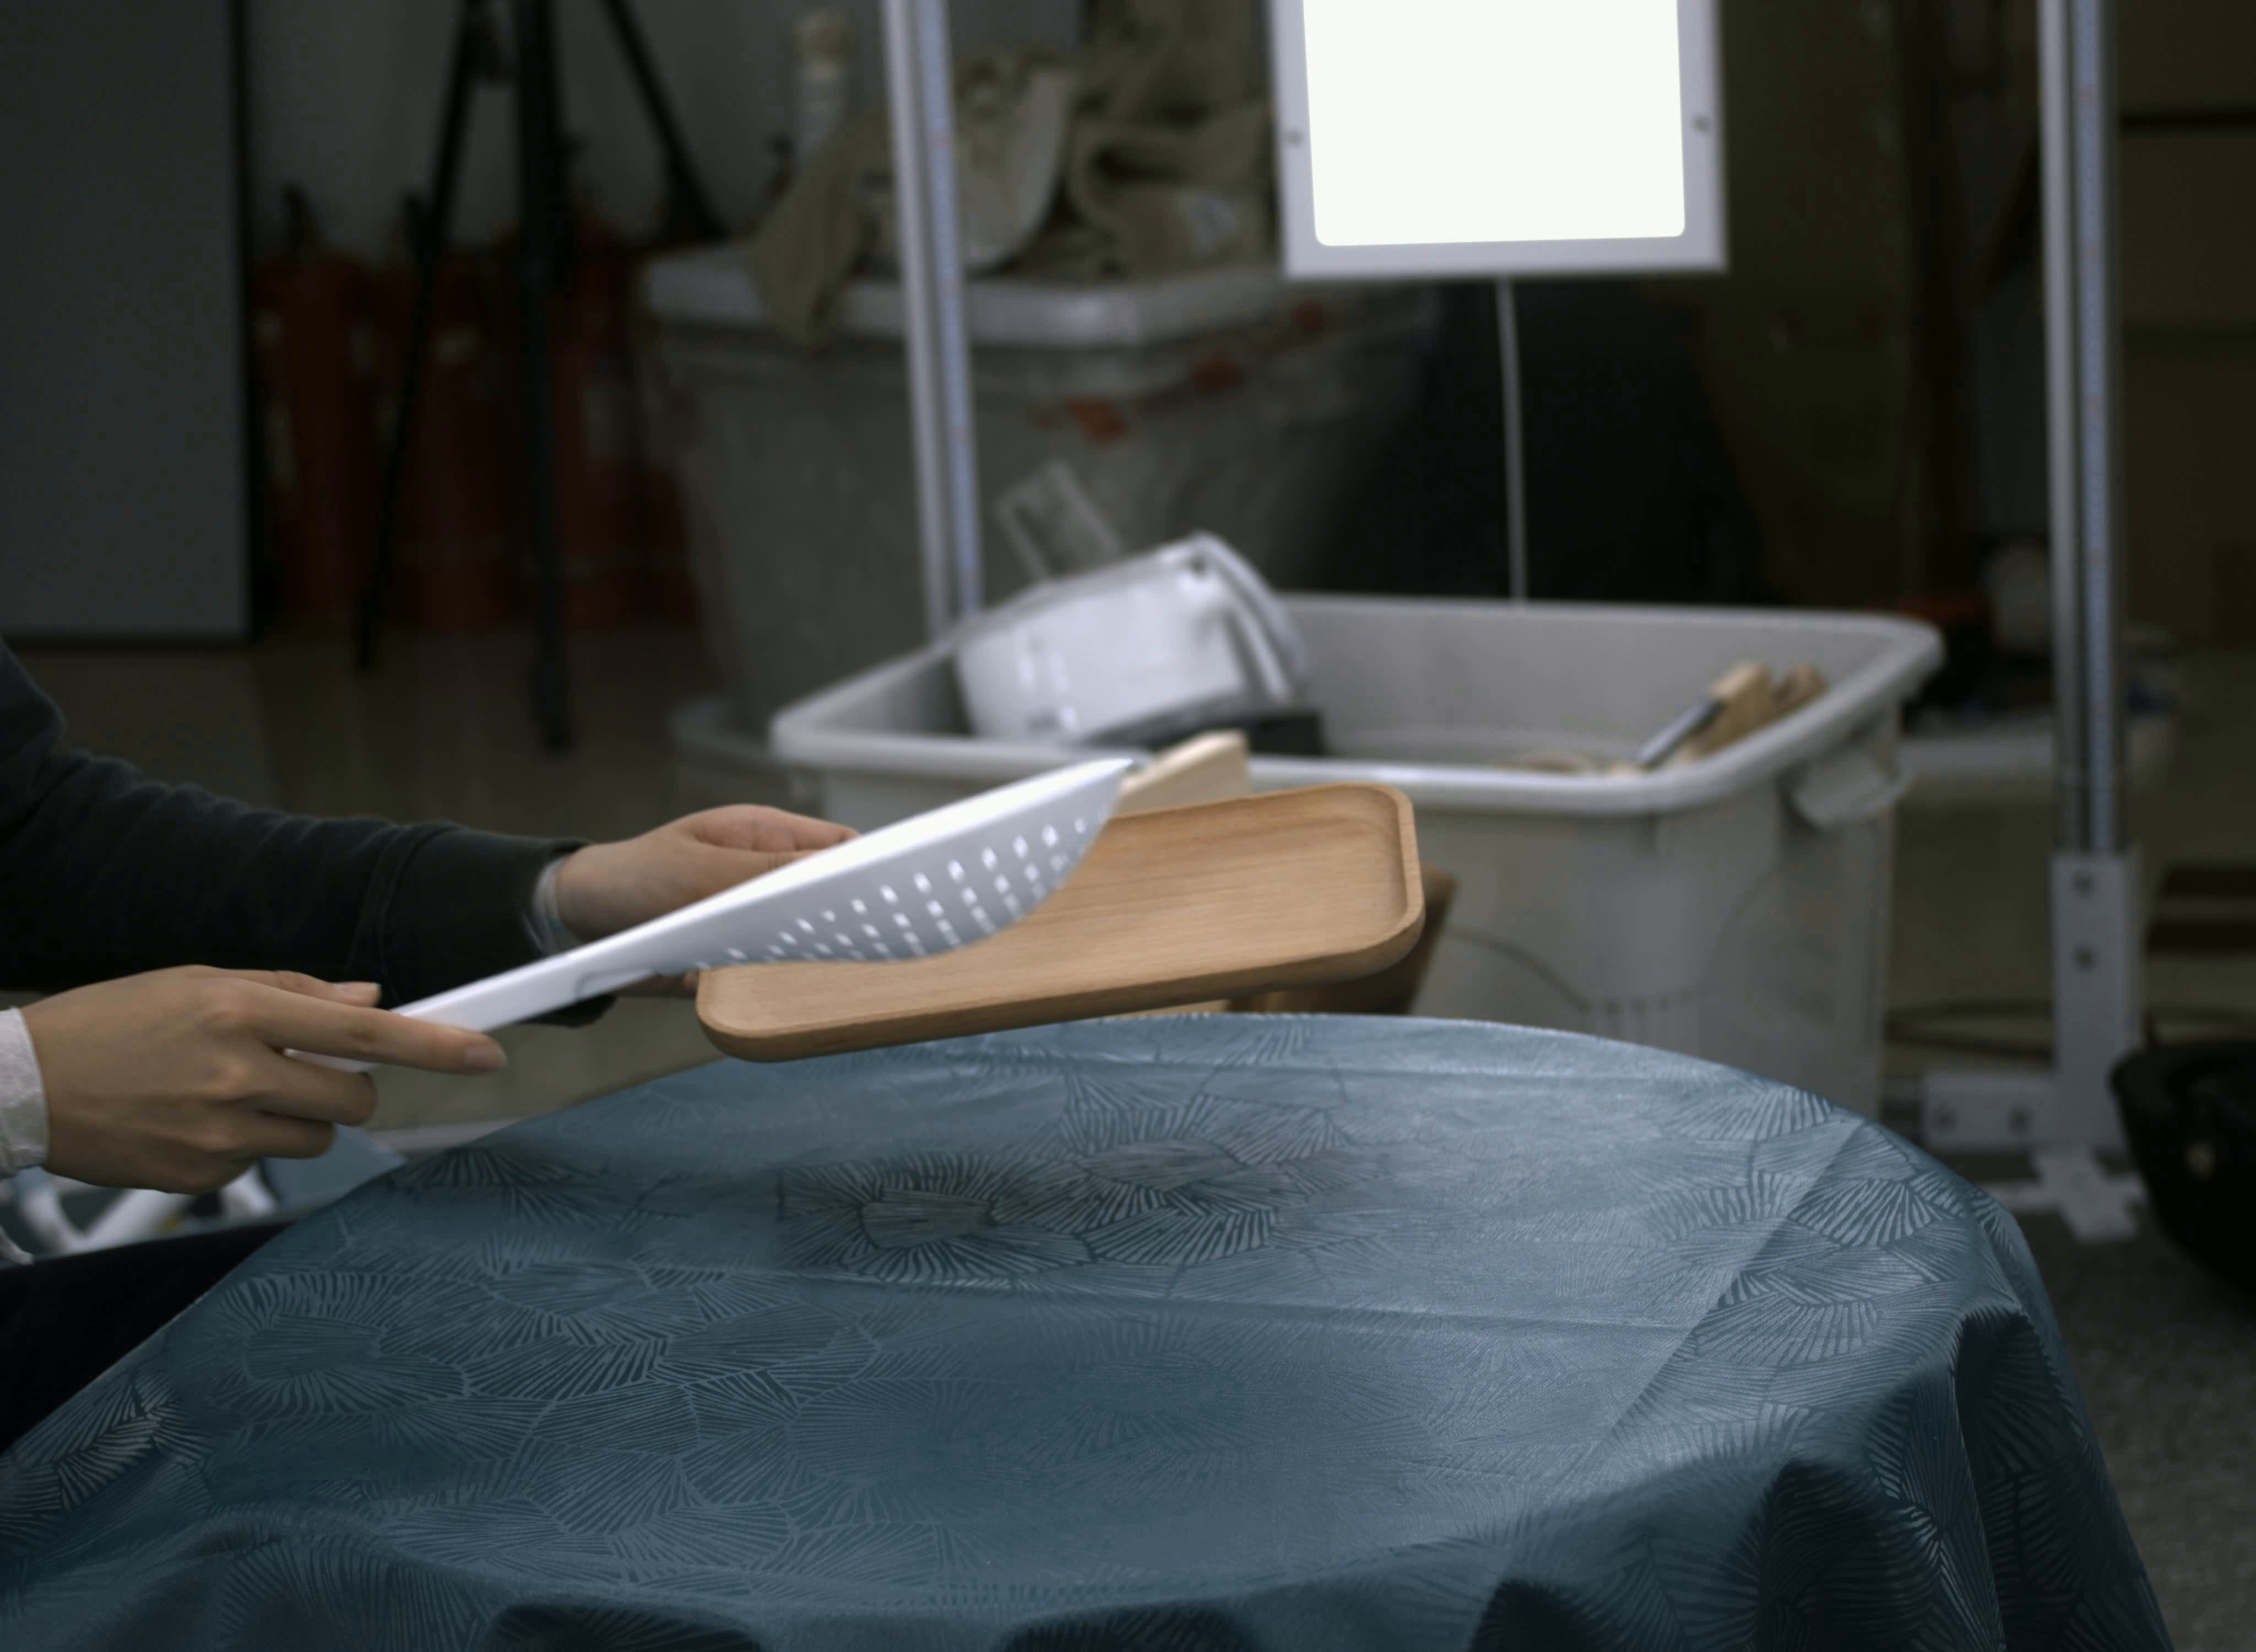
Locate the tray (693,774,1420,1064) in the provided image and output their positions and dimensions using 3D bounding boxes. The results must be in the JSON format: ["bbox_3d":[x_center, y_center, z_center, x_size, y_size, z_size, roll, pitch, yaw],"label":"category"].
[{"bbox_3d":[-0.024,0.032,1.891,0.251,0.023,0.130,-9,25,7],"label":"tray"}]

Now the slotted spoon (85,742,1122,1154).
[{"bbox_3d":[-0.165,0.040,1.743,0.350,0.046,0.135,-15,2,5],"label":"slotted spoon"}]
